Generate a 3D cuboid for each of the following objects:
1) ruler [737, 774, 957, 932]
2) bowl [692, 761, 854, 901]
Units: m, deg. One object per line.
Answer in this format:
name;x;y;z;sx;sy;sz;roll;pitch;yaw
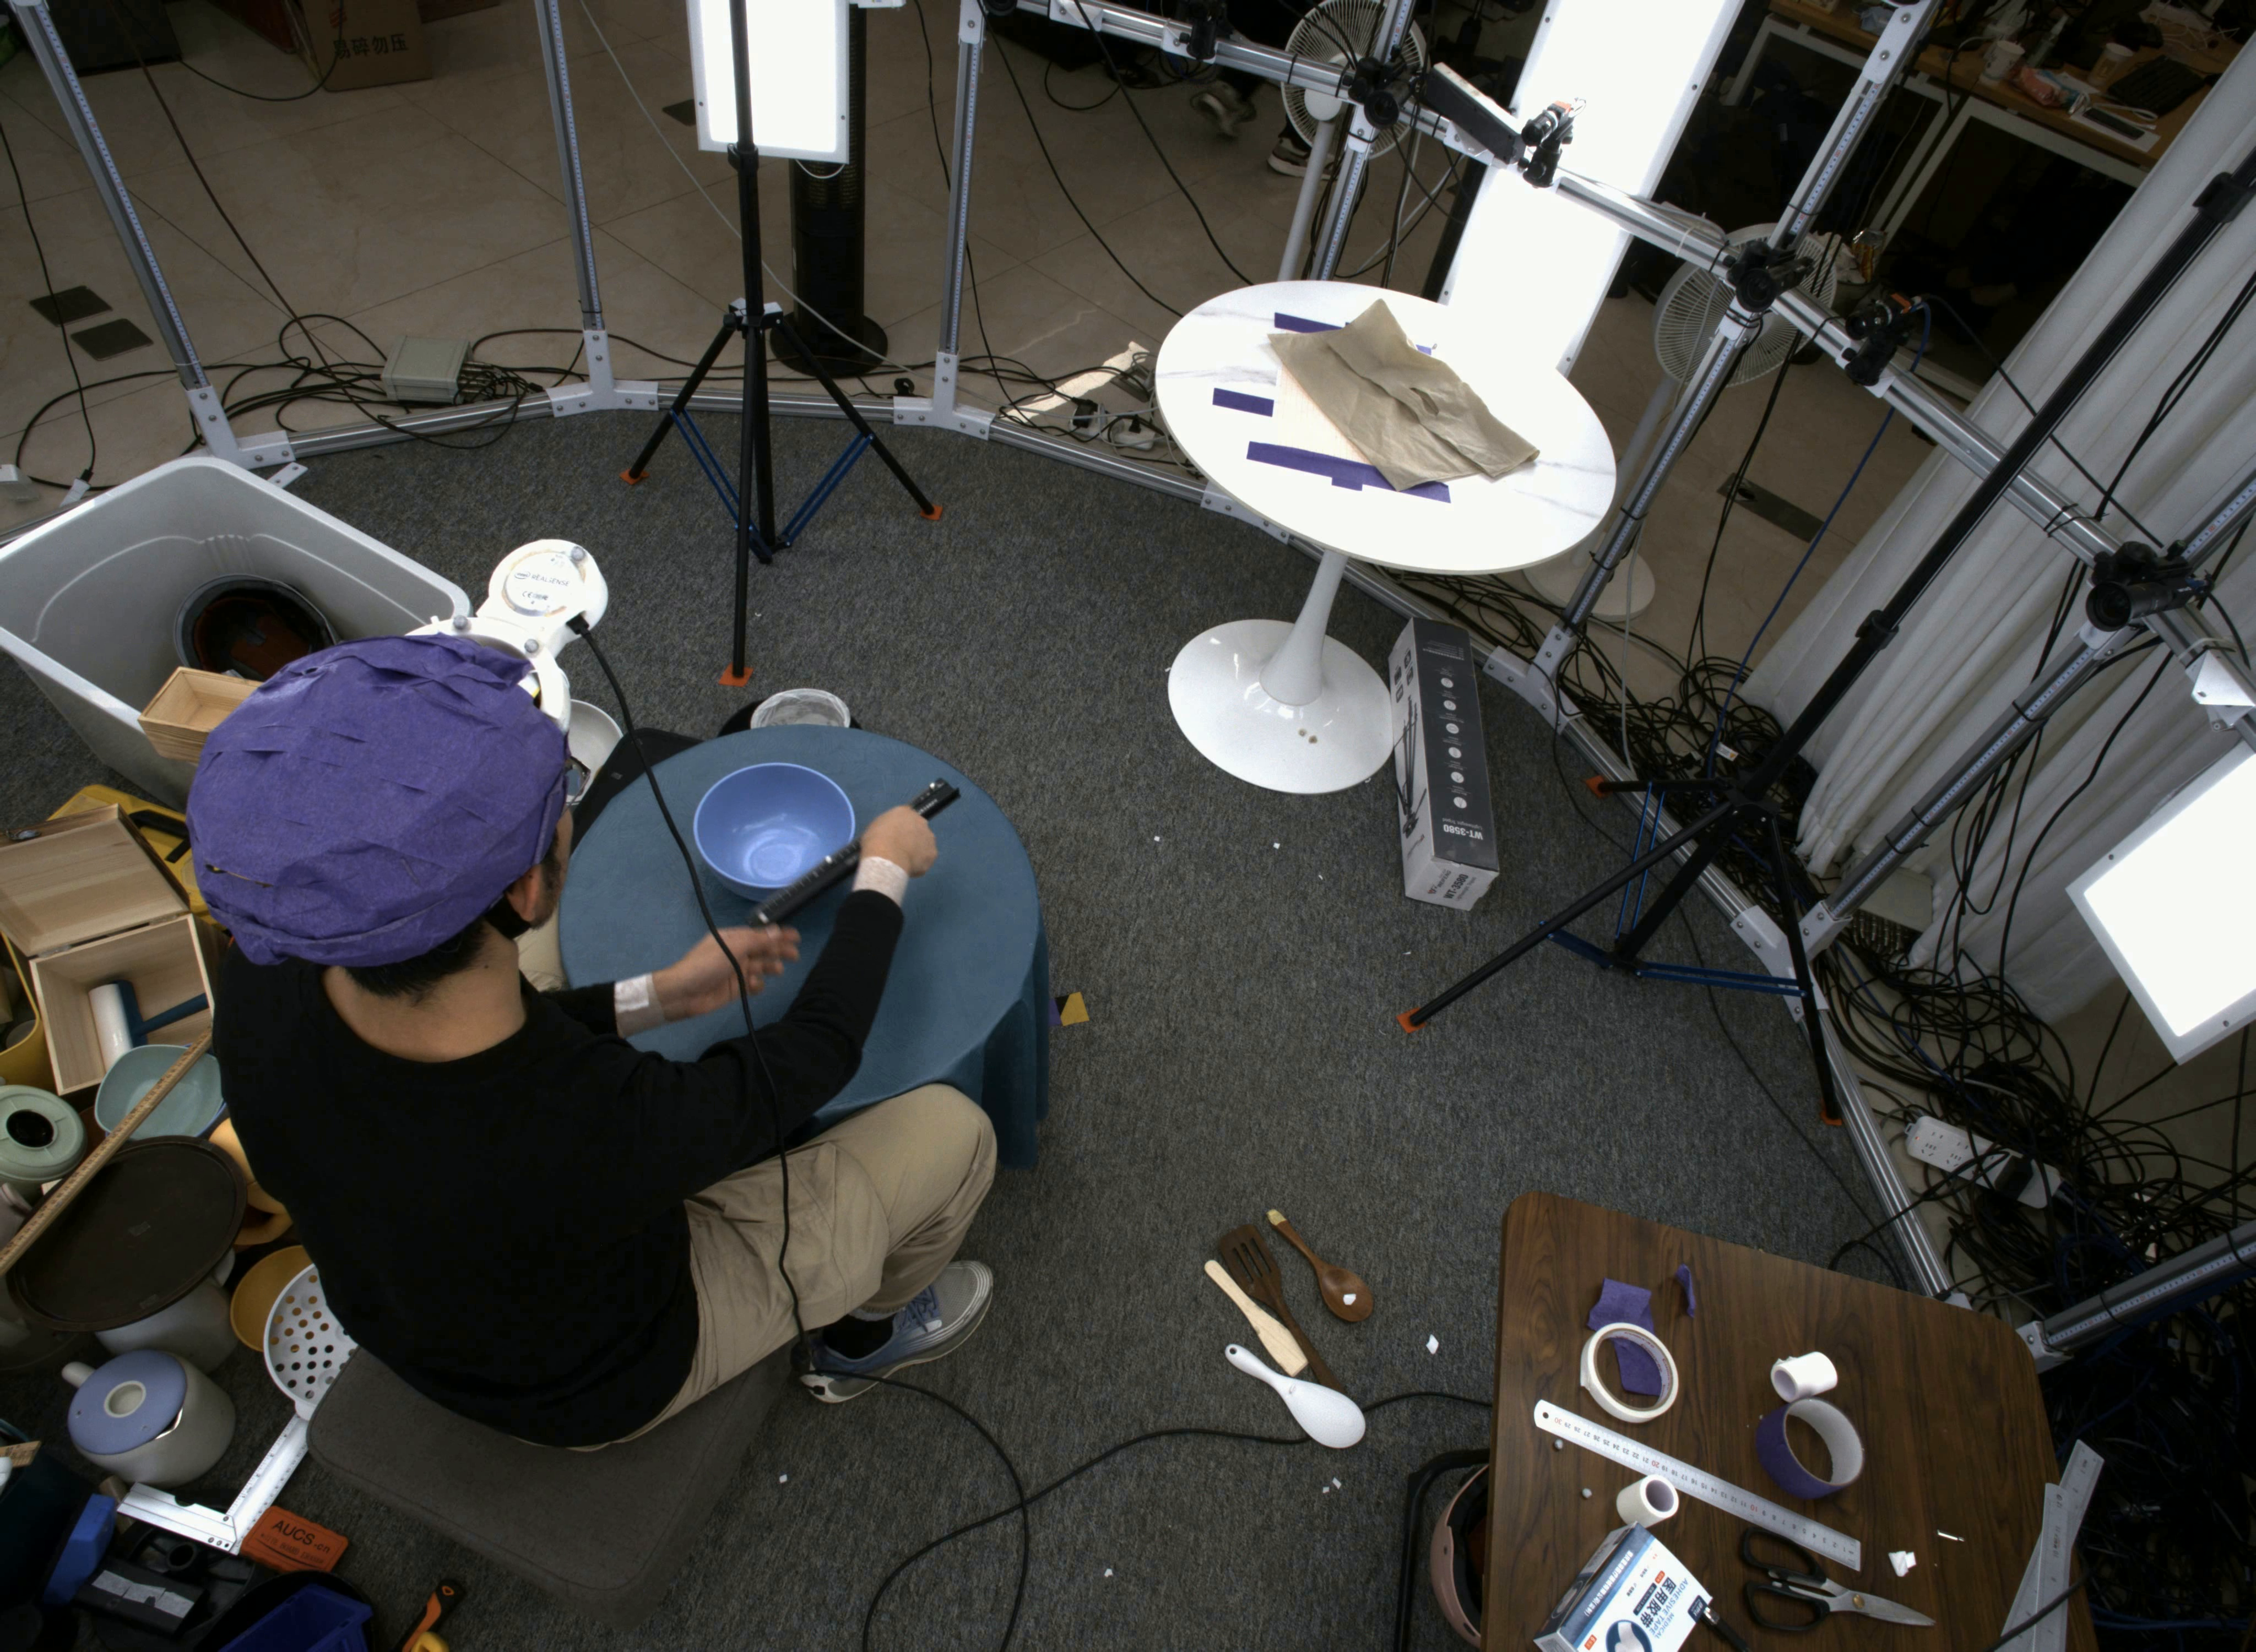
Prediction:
ruler;-0.331;0.022;1.556;0.038;0.017;0.313;43;58;16
bowl;-0.445;0.022;1.635;0.196;0.097;0.193;8;51;-8
